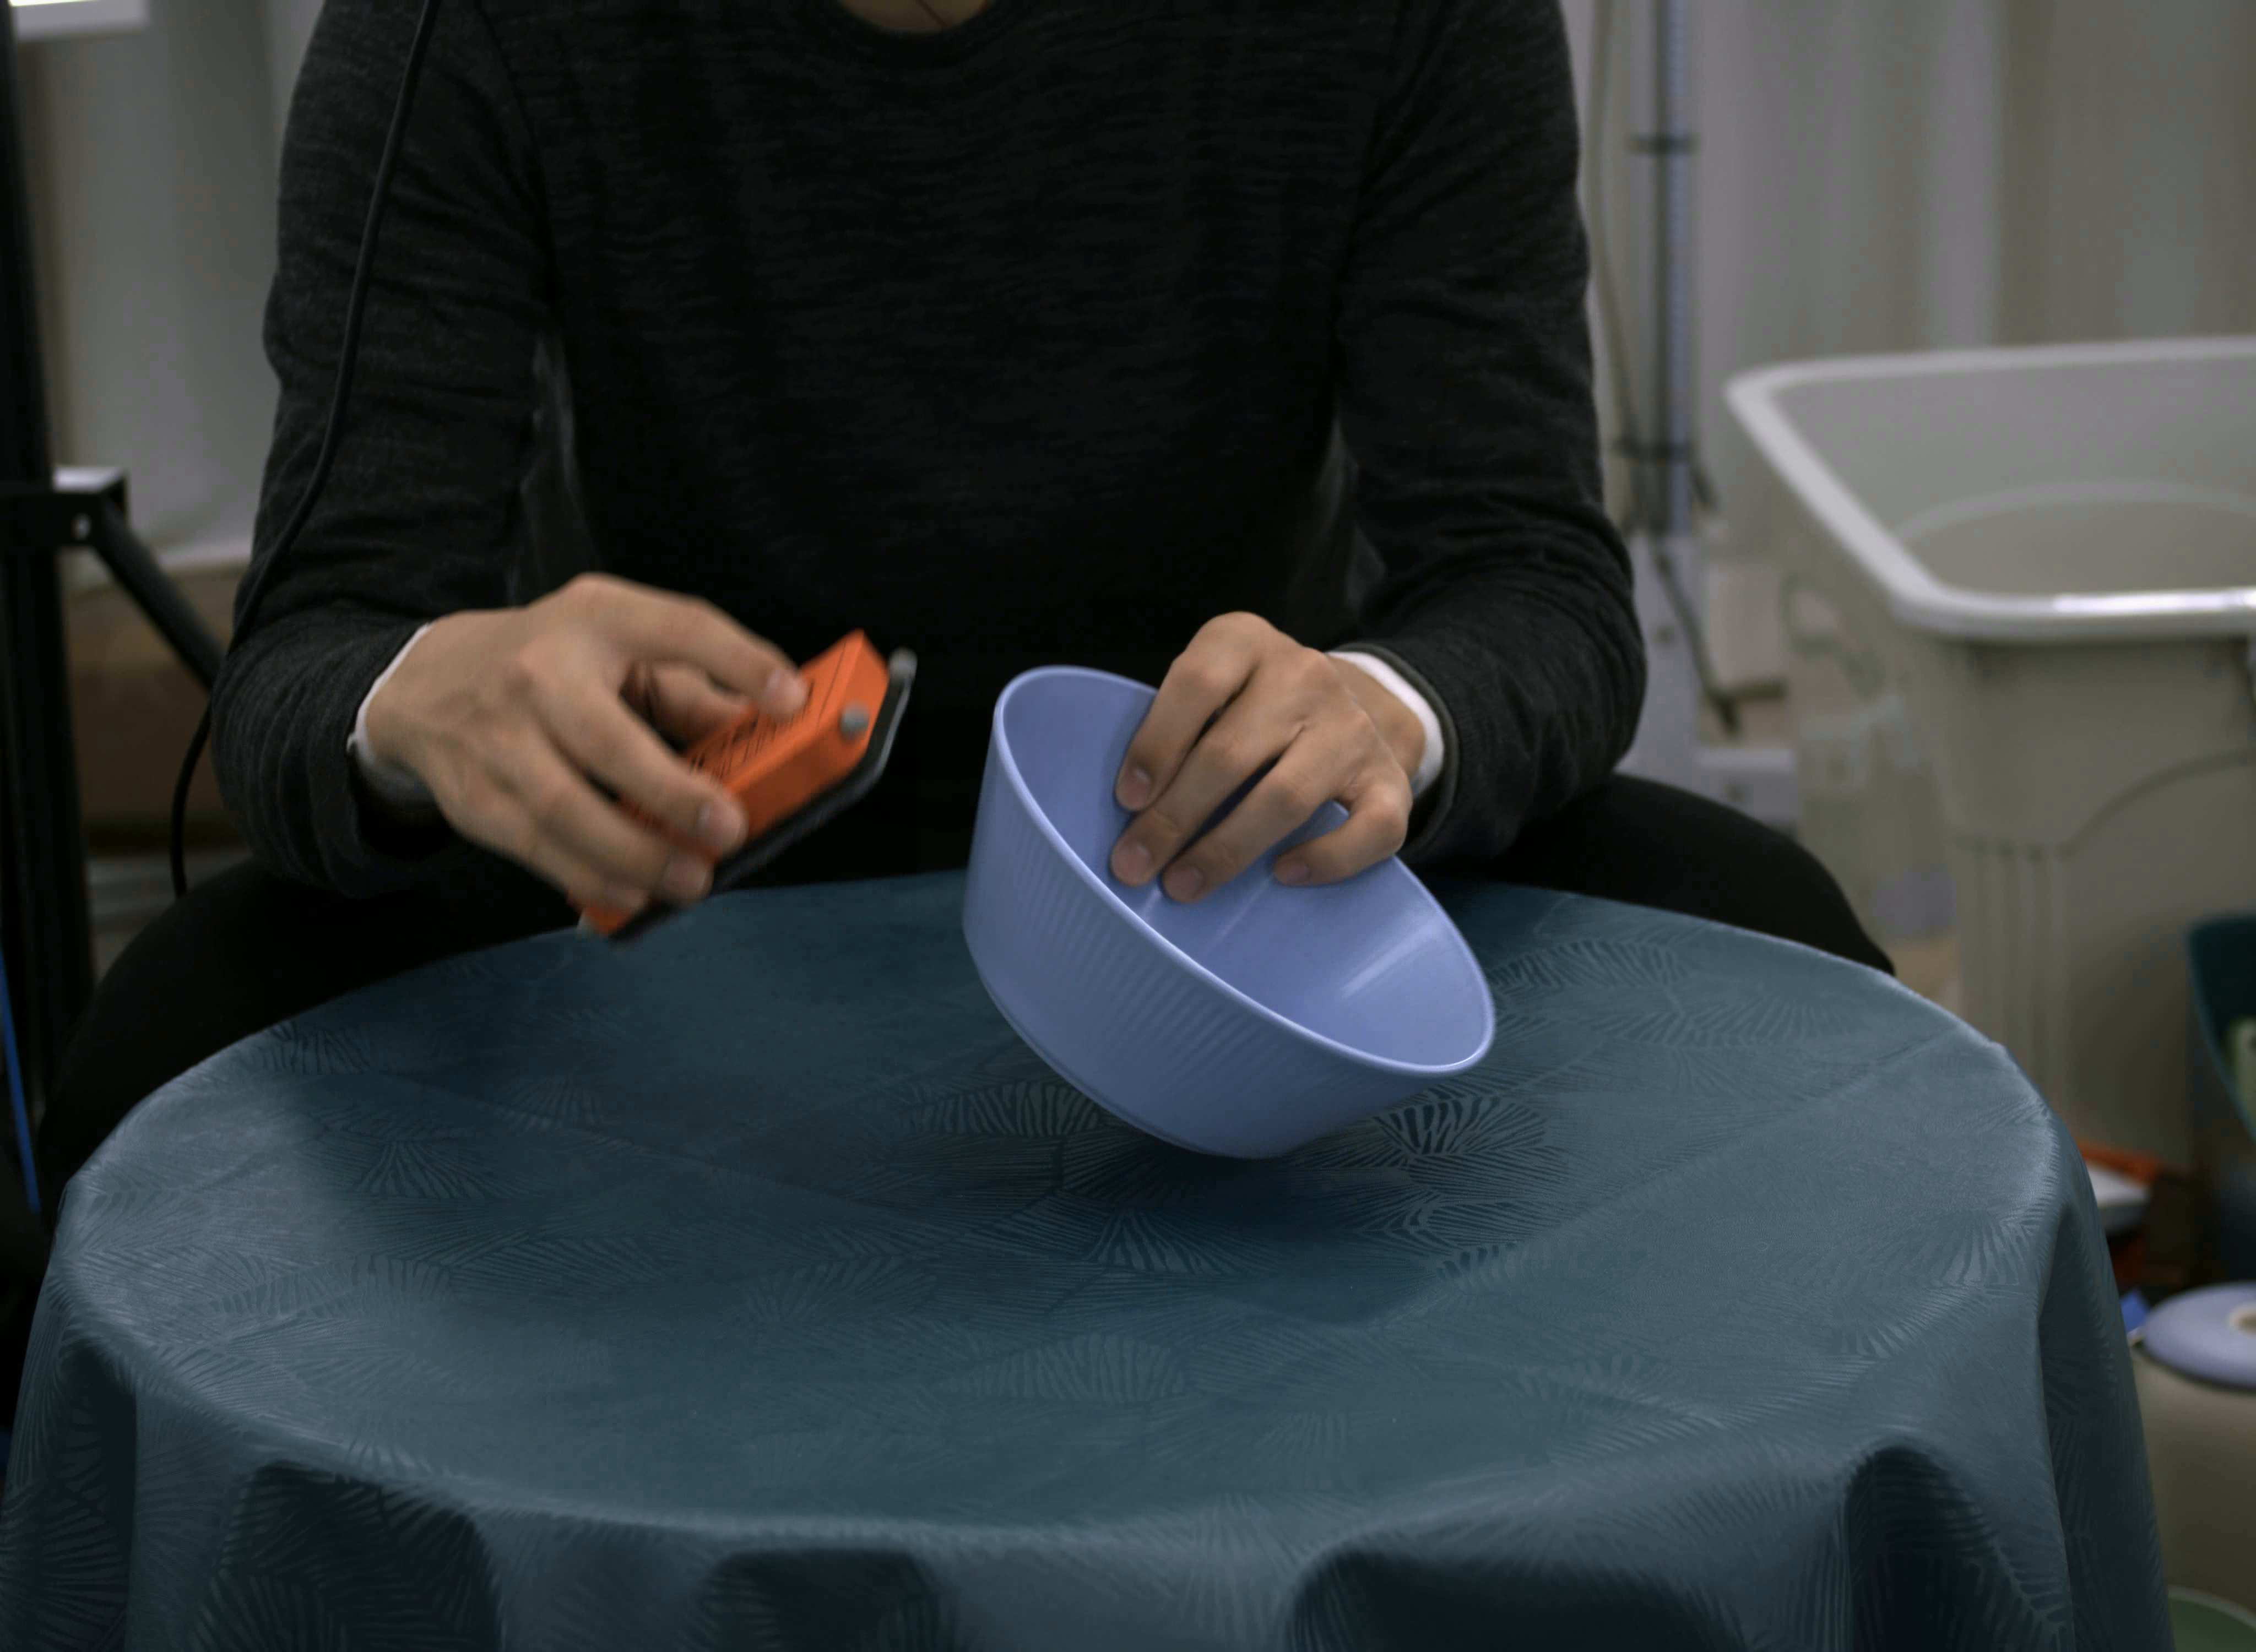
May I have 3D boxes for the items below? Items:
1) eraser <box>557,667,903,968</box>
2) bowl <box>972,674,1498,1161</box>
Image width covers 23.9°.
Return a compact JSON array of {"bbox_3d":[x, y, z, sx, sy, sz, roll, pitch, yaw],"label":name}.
[{"bbox_3d":[-0.115,-0.002,1.547,0.109,0.022,0.059,-31,21,27],"label":"eraser"},{"bbox_3d":[0.020,0.037,1.562,0.173,0.071,0.177,29,22,-15],"label":"bowl"}]
